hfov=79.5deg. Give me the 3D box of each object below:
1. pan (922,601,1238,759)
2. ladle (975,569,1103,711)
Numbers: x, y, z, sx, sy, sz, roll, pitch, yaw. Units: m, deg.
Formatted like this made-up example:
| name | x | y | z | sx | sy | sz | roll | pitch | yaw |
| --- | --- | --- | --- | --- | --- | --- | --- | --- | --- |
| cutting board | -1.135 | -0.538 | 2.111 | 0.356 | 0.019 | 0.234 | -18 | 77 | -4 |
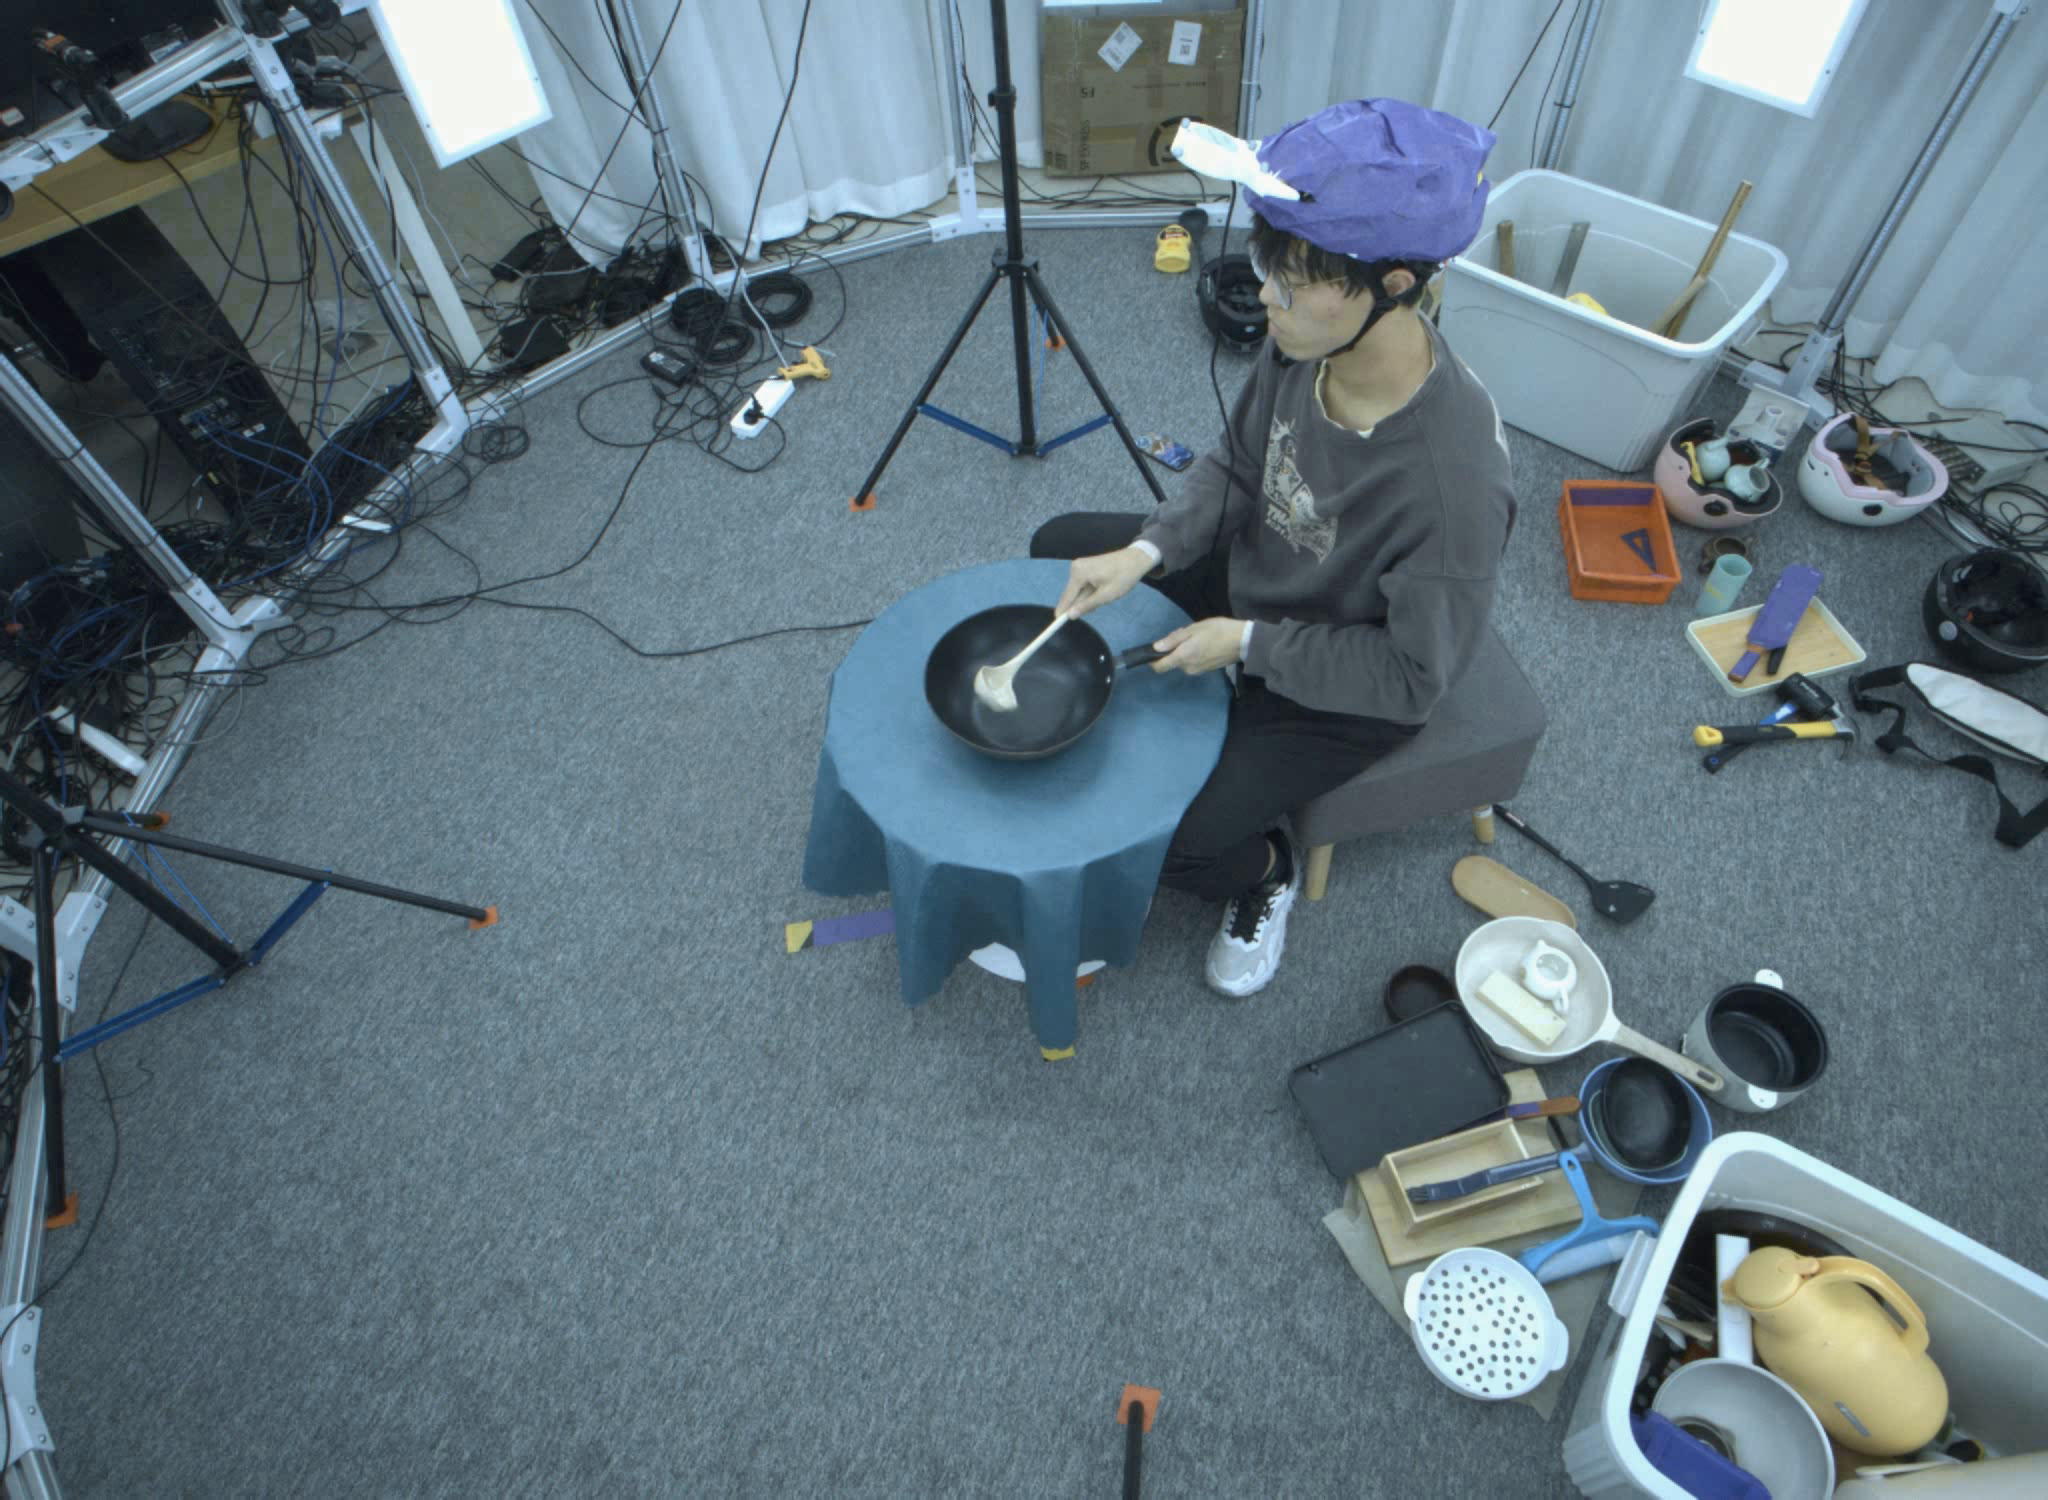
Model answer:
| name | x | y | z | sx | sy | sz | roll | pitch | yaw |
| --- | --- | --- | --- | --- | --- | --- | --- | --- | --- |
| pan | 0.083 | -0.105 | 1.807 | 0.466 | 0.088 | 0.284 | -10 | 54 | -7 |
| ladle | 0.031 | -0.162 | 1.734 | 0.073 | 0.072 | 0.254 | 43 | 88 | -12 |
